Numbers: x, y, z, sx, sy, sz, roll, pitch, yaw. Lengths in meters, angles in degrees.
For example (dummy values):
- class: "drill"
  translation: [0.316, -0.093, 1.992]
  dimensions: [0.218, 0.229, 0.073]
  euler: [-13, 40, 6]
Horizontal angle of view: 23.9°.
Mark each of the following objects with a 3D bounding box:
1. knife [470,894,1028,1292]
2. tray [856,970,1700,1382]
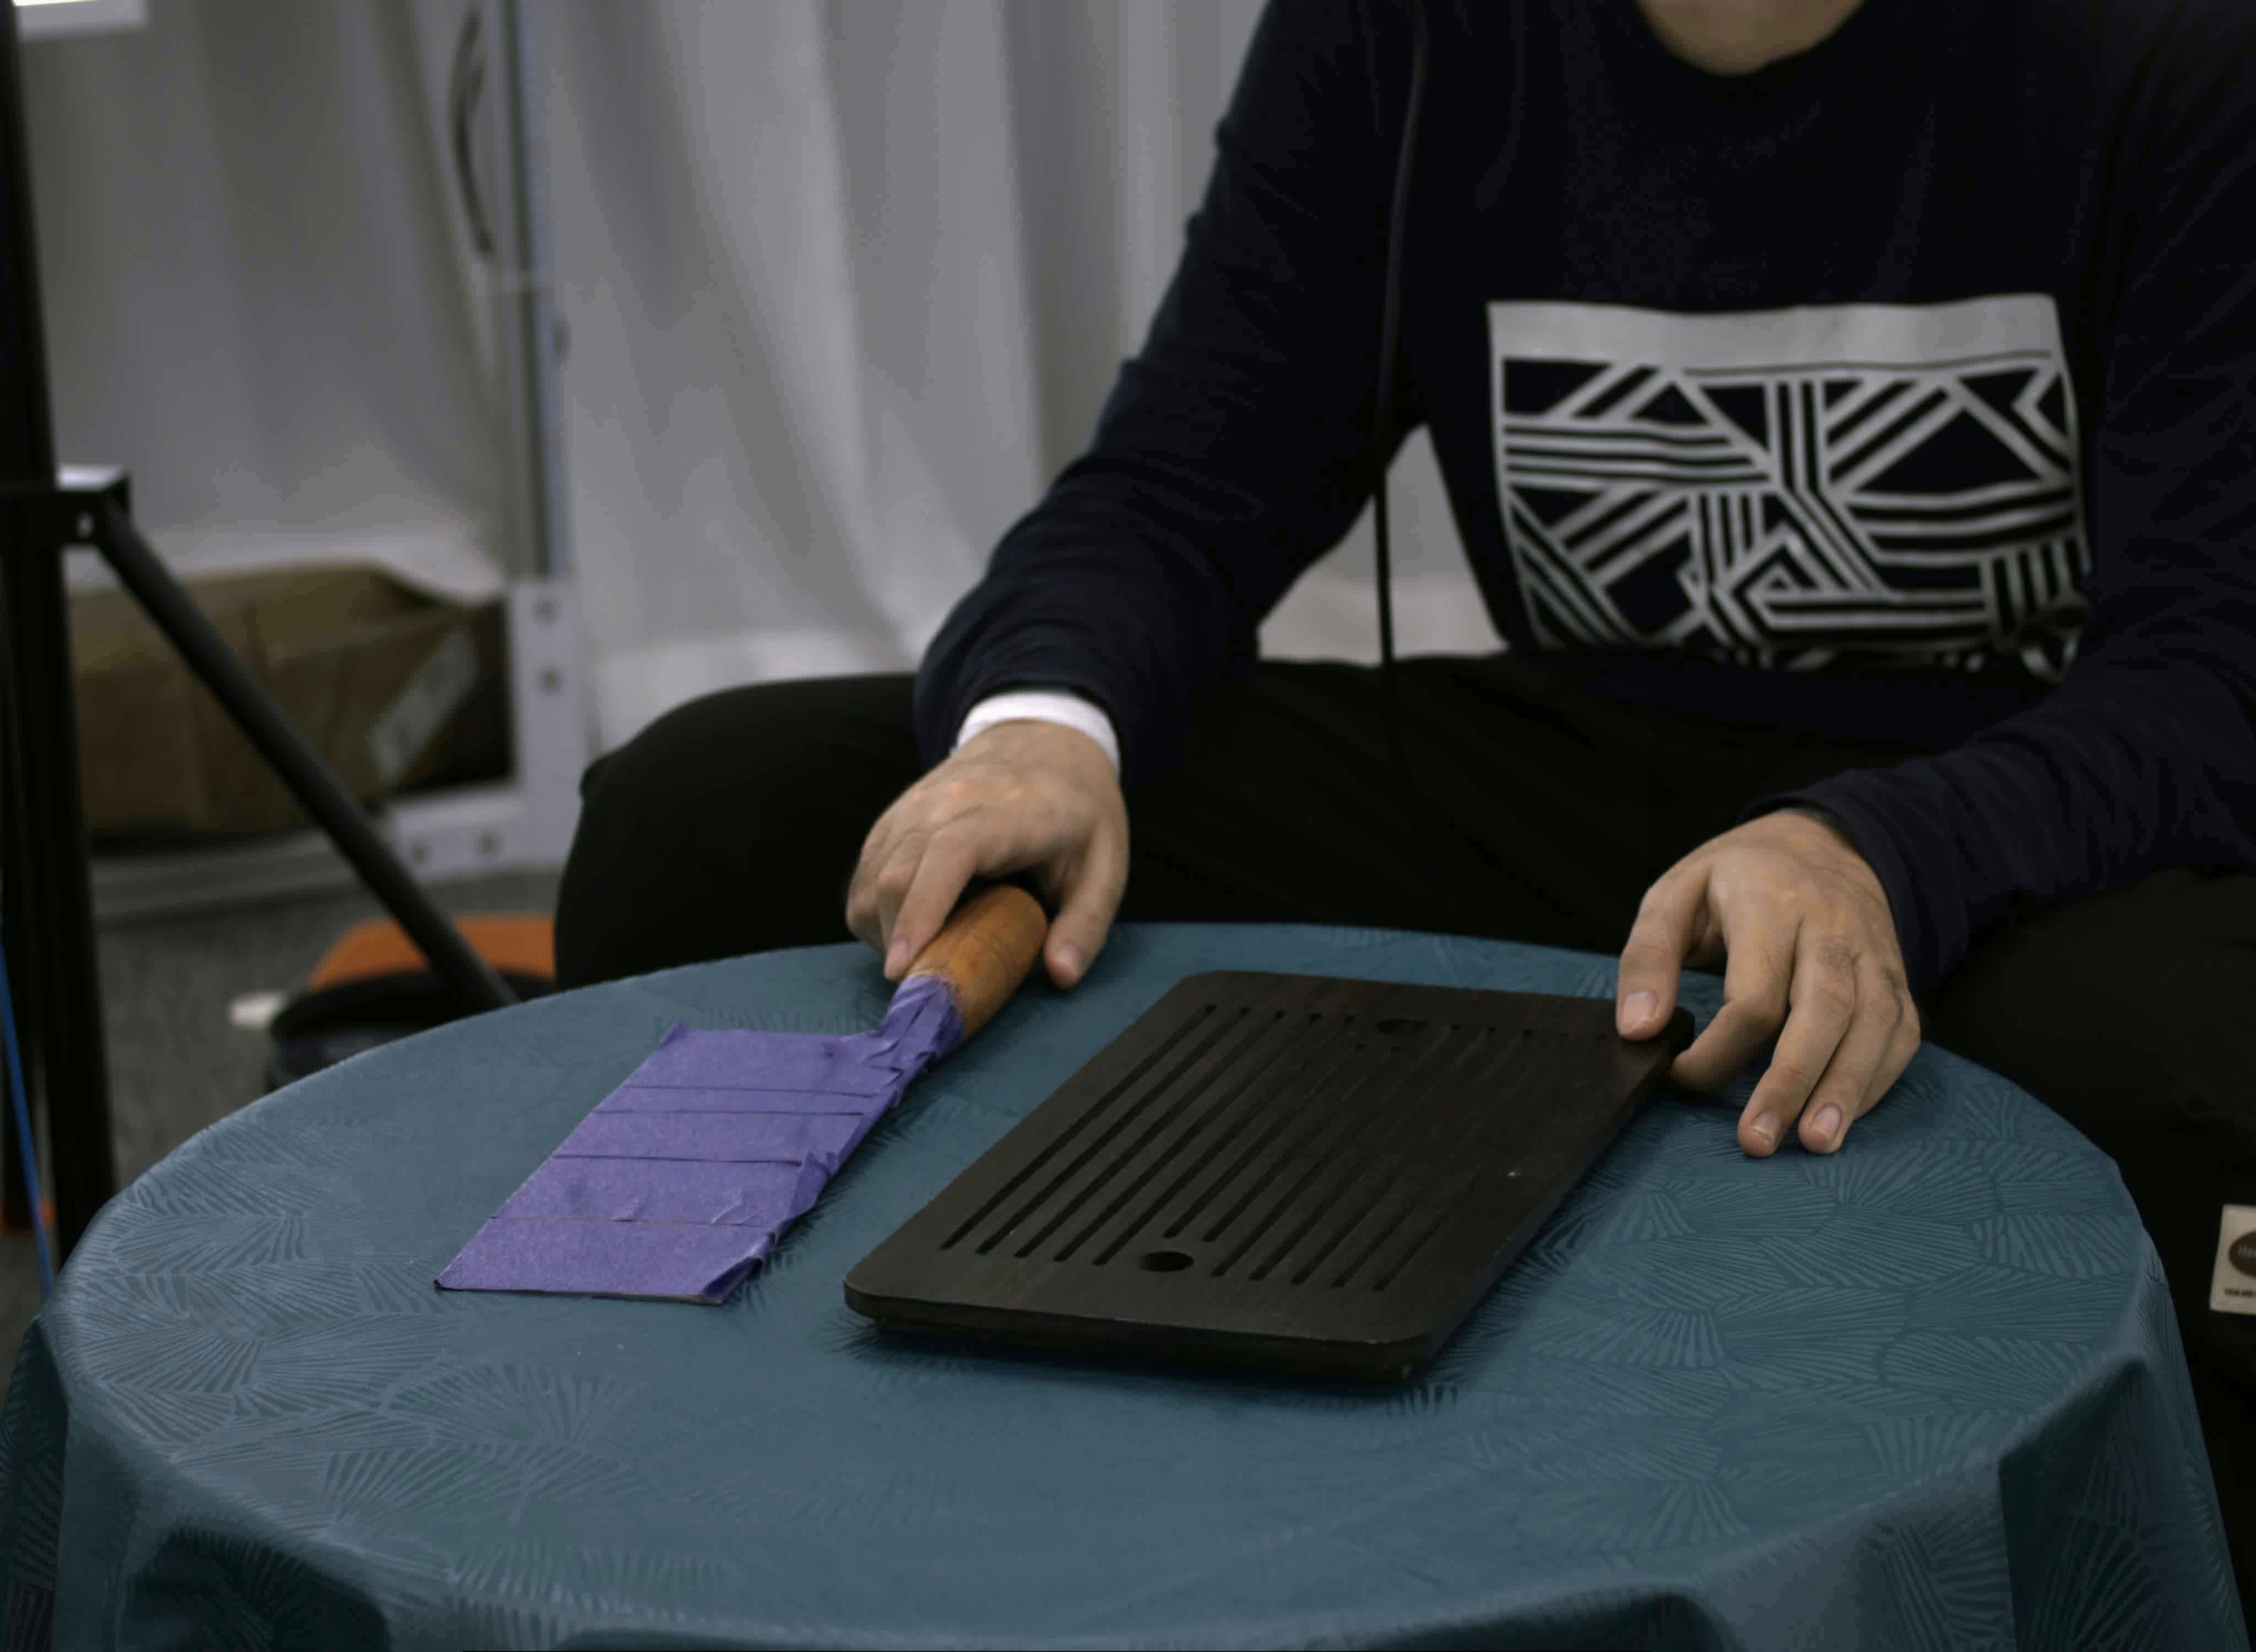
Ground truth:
- class: "knife"
  translation: [-0.113, 0.079, 1.634]
  dimensions: [0.104, 0.032, 0.313]
  euler: [2, 17, 15]
- class: "tray"
  translation: [0.052, 0.099, 1.552]
  dimensions: [0.172, 0.018, 0.302]
  euler: [3, 16, 20]
